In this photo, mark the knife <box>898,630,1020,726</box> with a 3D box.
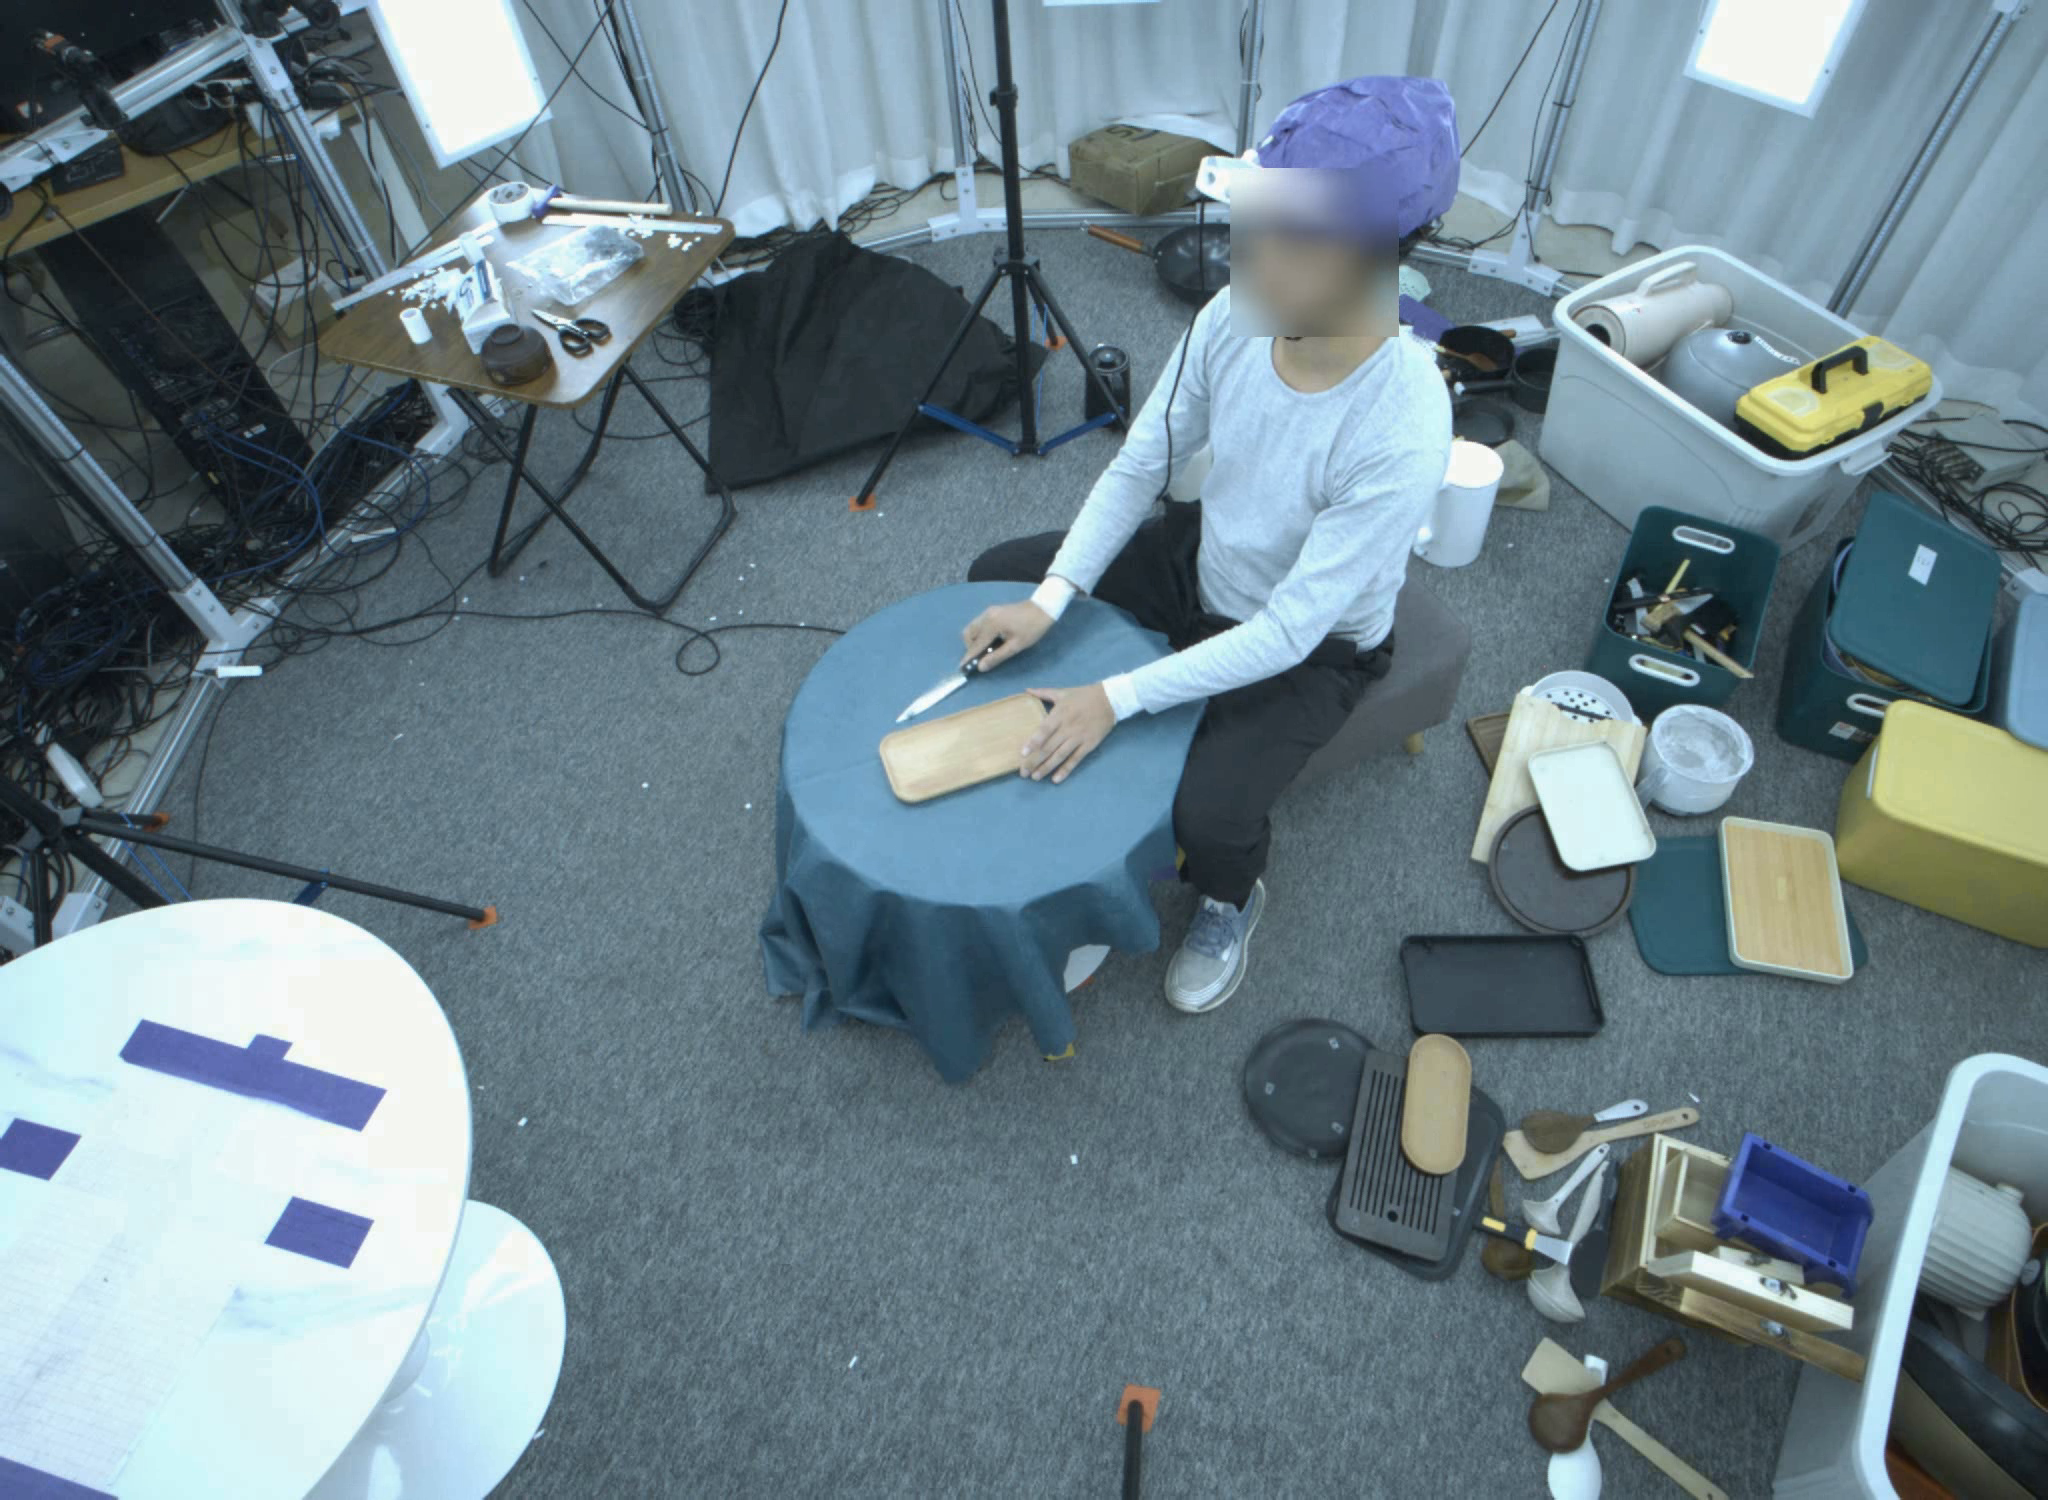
[{"bbox_3d":[-0.101,-0.111,1.863,0.239,0.016,0.024,-39,81,-17],"label":"knife"}]

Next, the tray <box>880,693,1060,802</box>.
[{"bbox_3d":[-0.079,-0.005,1.791,0.252,0.023,0.128,-16,58,-11],"label":"tray"}]
